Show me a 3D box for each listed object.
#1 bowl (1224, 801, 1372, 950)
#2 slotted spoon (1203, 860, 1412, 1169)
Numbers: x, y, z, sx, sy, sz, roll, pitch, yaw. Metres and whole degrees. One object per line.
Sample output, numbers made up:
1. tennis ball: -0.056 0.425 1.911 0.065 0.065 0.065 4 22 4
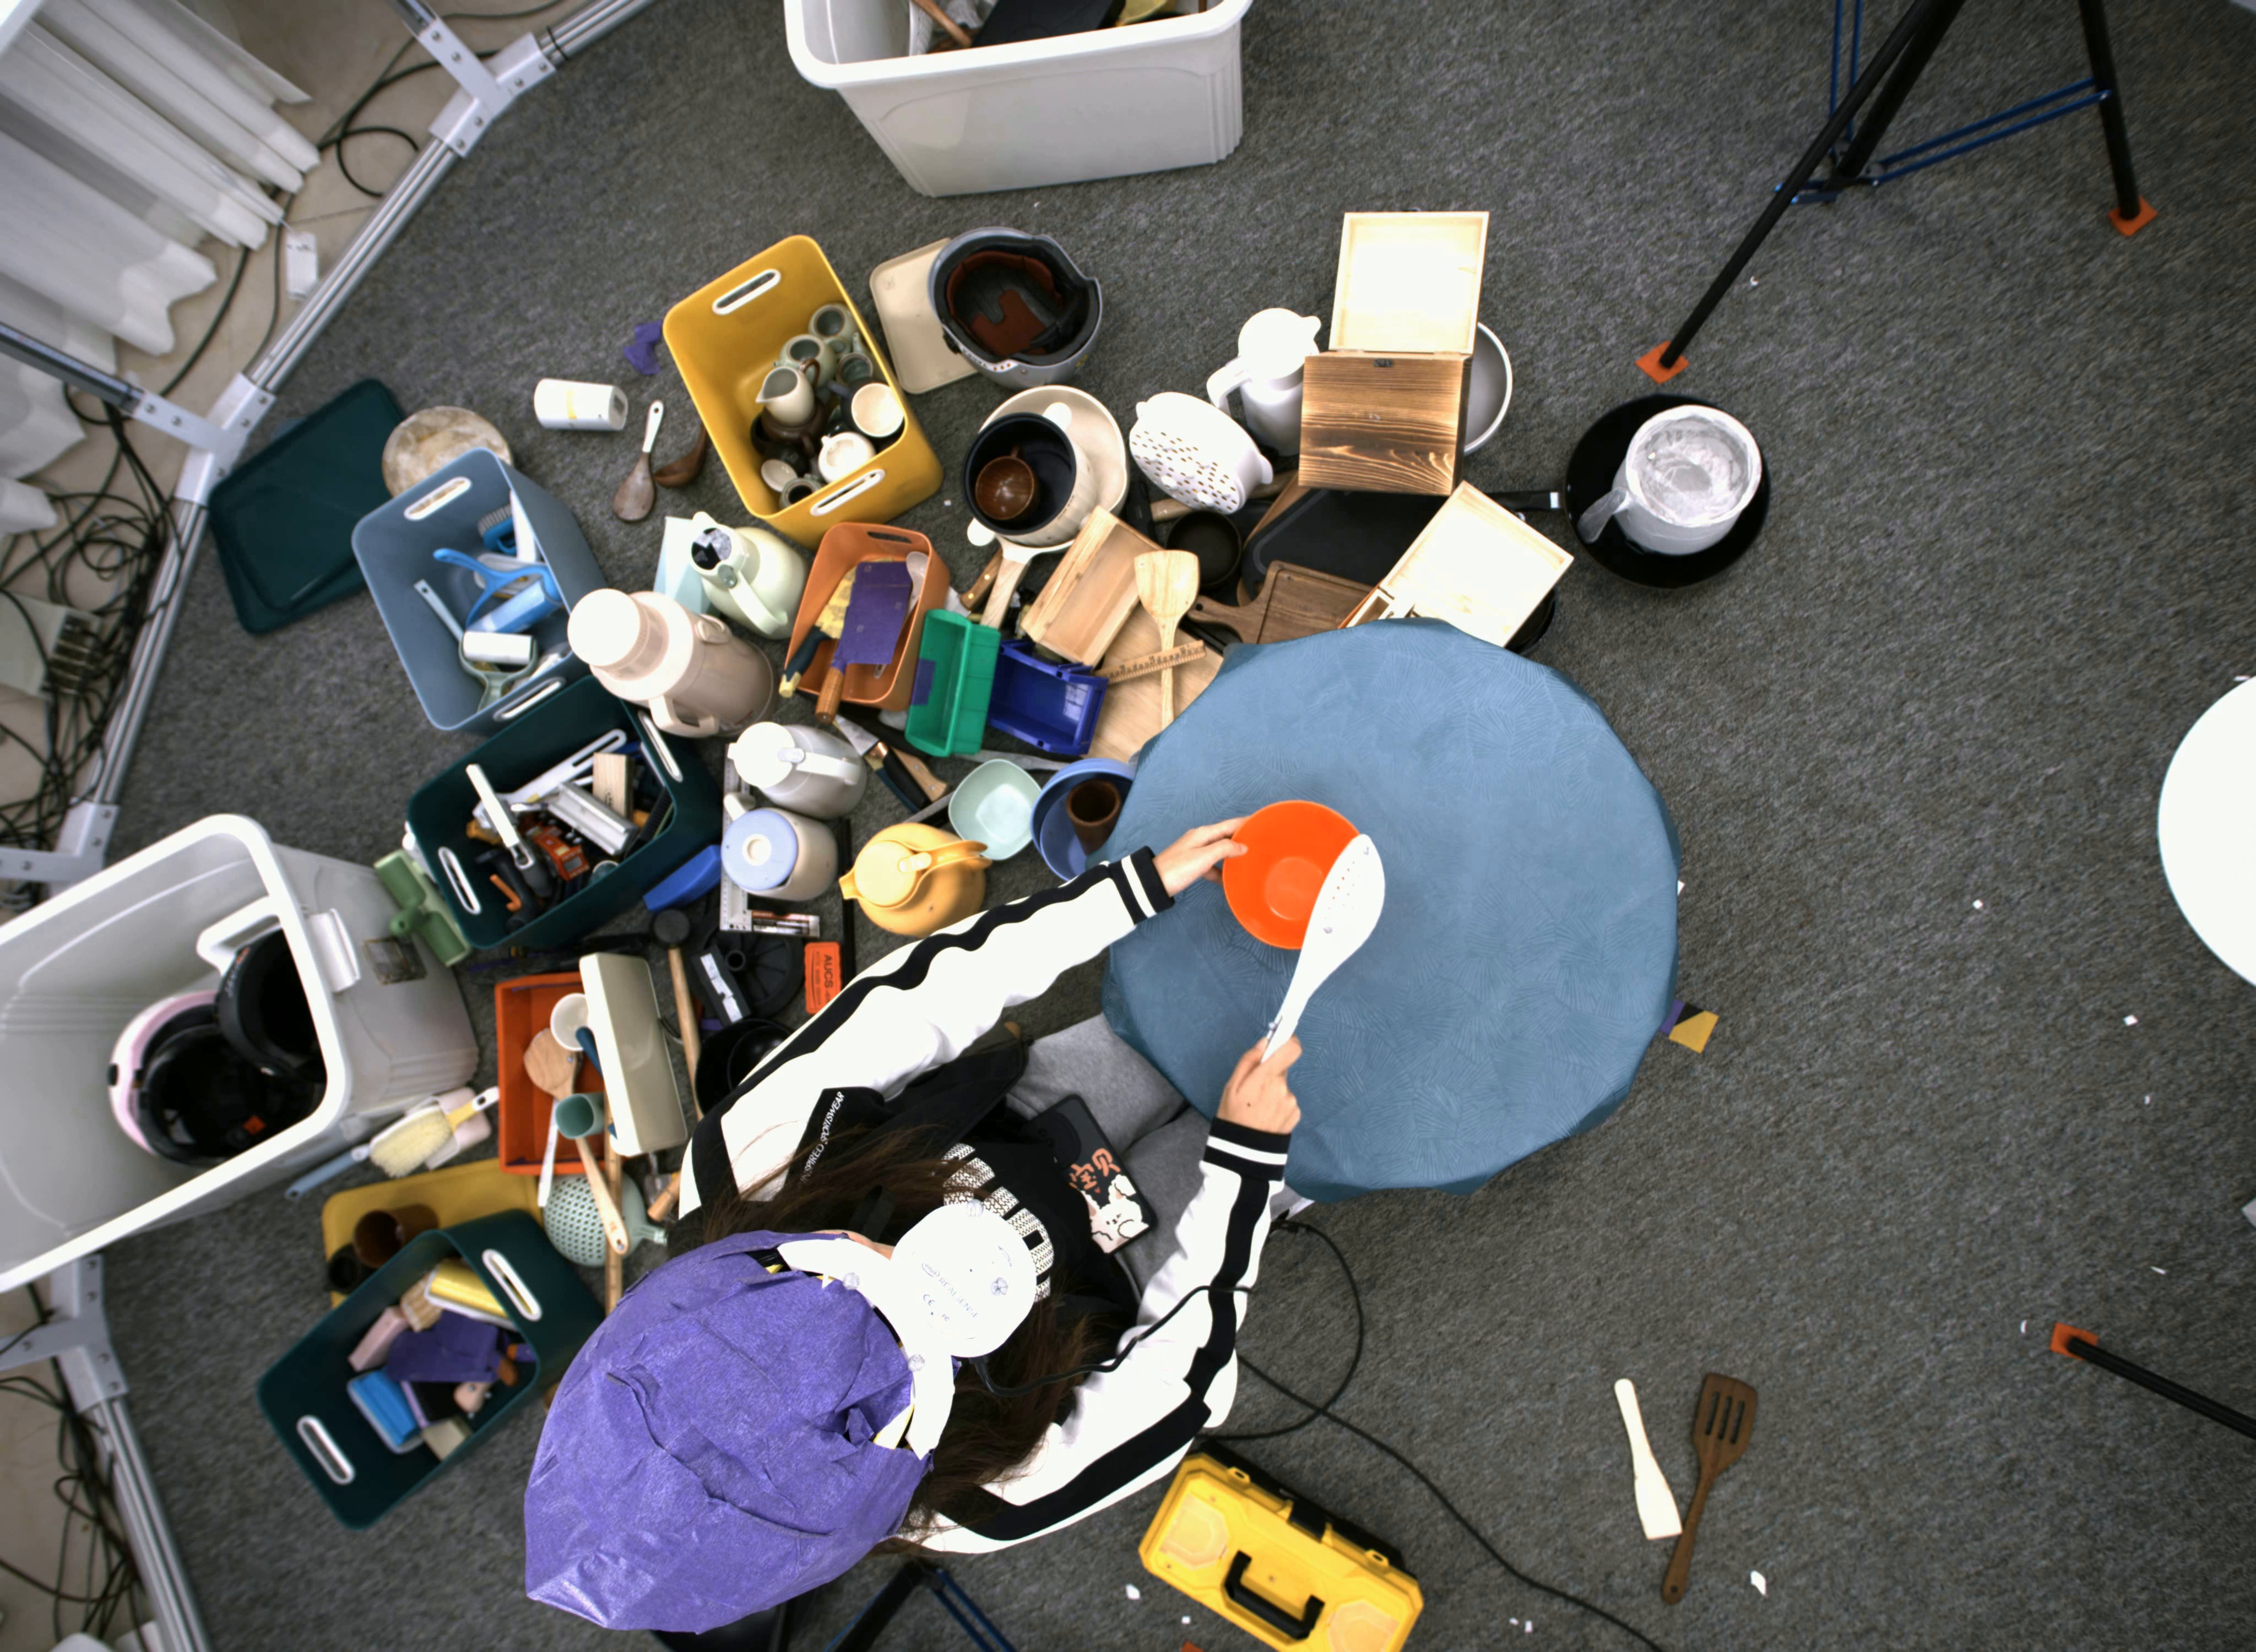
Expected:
1. bowl: 0.172 0.051 1.412 0.148 0.104 0.147 0 88 5
2. slotted spoon: 0.166 0.186 1.312 0.046 0.133 0.354 27 108 -24
